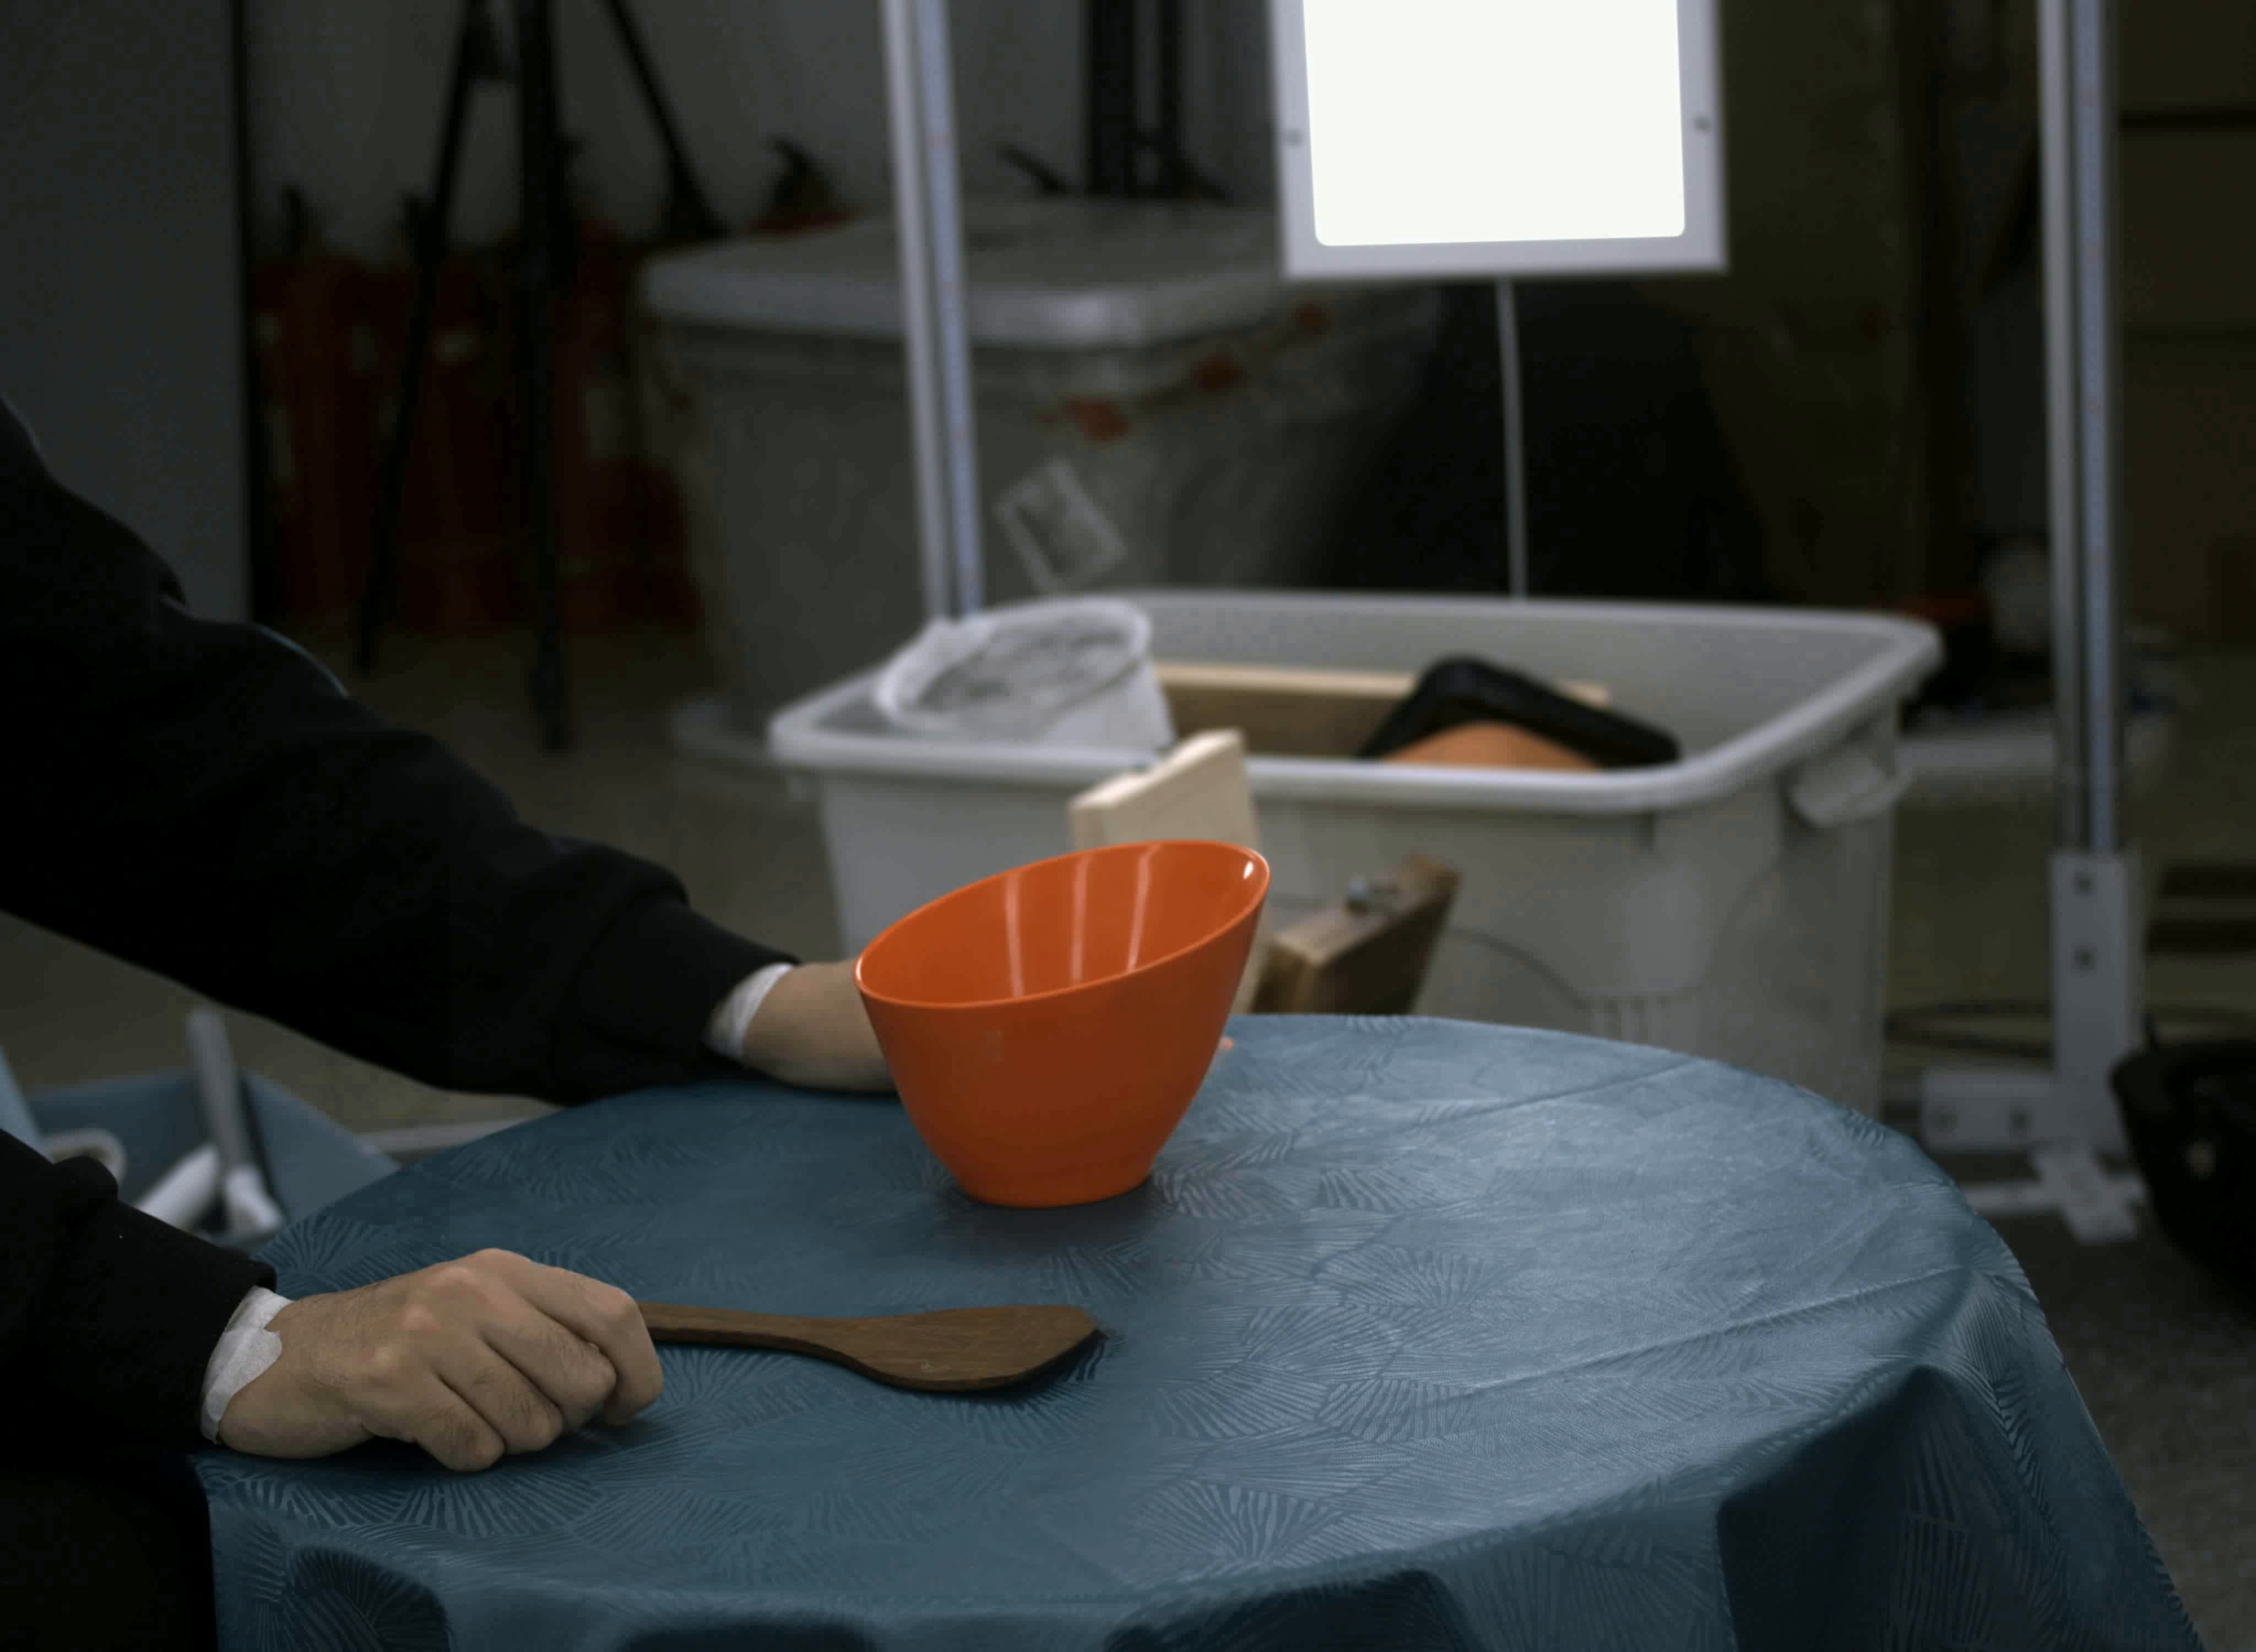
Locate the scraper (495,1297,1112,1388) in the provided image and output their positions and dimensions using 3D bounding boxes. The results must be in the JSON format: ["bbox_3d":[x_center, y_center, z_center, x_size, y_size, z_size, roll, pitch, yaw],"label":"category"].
[{"bbox_3d":[-0.109,0.163,1.773,0.215,0.011,0.074,1,14,26],"label":"scraper"}]

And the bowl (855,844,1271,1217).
[{"bbox_3d":[-0.018,0.074,1.910,0.148,0.105,0.148,-6,15,0],"label":"bowl"}]
